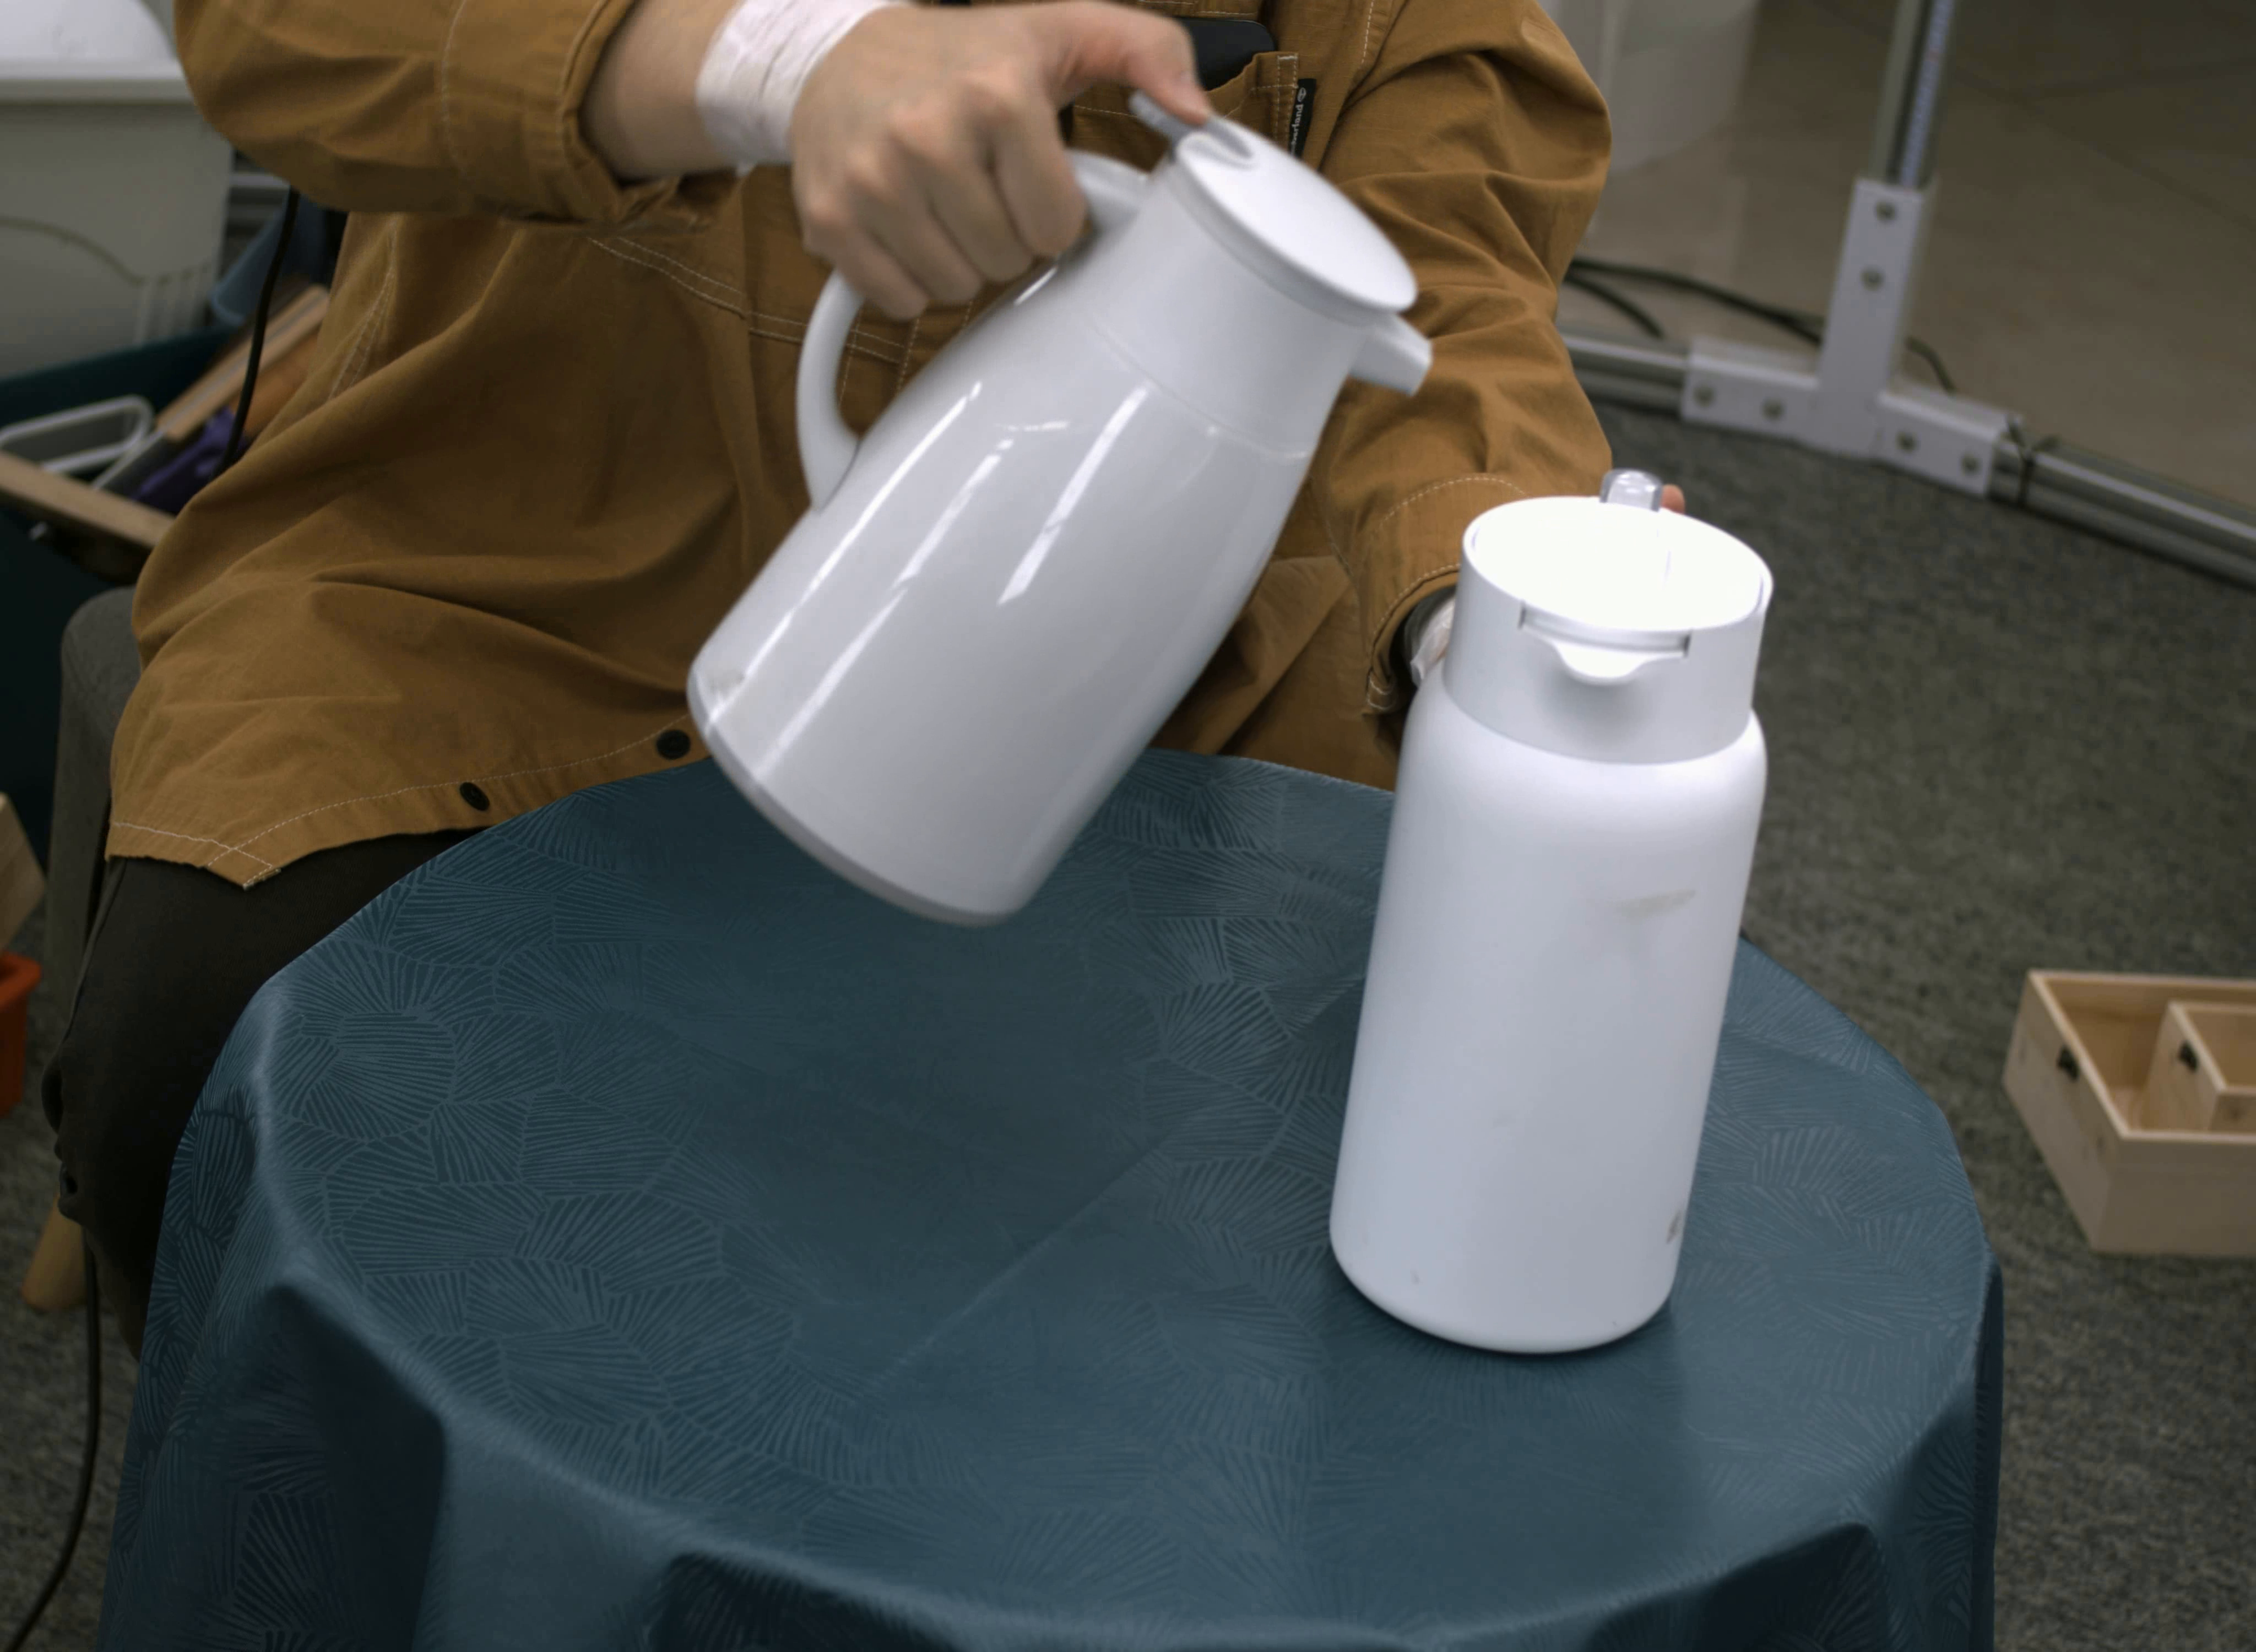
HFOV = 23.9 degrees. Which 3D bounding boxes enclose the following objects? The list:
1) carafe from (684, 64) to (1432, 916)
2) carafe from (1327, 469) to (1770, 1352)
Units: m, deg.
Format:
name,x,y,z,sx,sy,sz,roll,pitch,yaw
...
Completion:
name,x,y,z,sx,sy,sz,roll,pitch,yaw
carafe,-0.032,-0.116,1.650,0.167,0.248,0.133,33,21,-12
carafe,0.139,0.023,1.740,0.123,0.268,0.173,8,26,6
